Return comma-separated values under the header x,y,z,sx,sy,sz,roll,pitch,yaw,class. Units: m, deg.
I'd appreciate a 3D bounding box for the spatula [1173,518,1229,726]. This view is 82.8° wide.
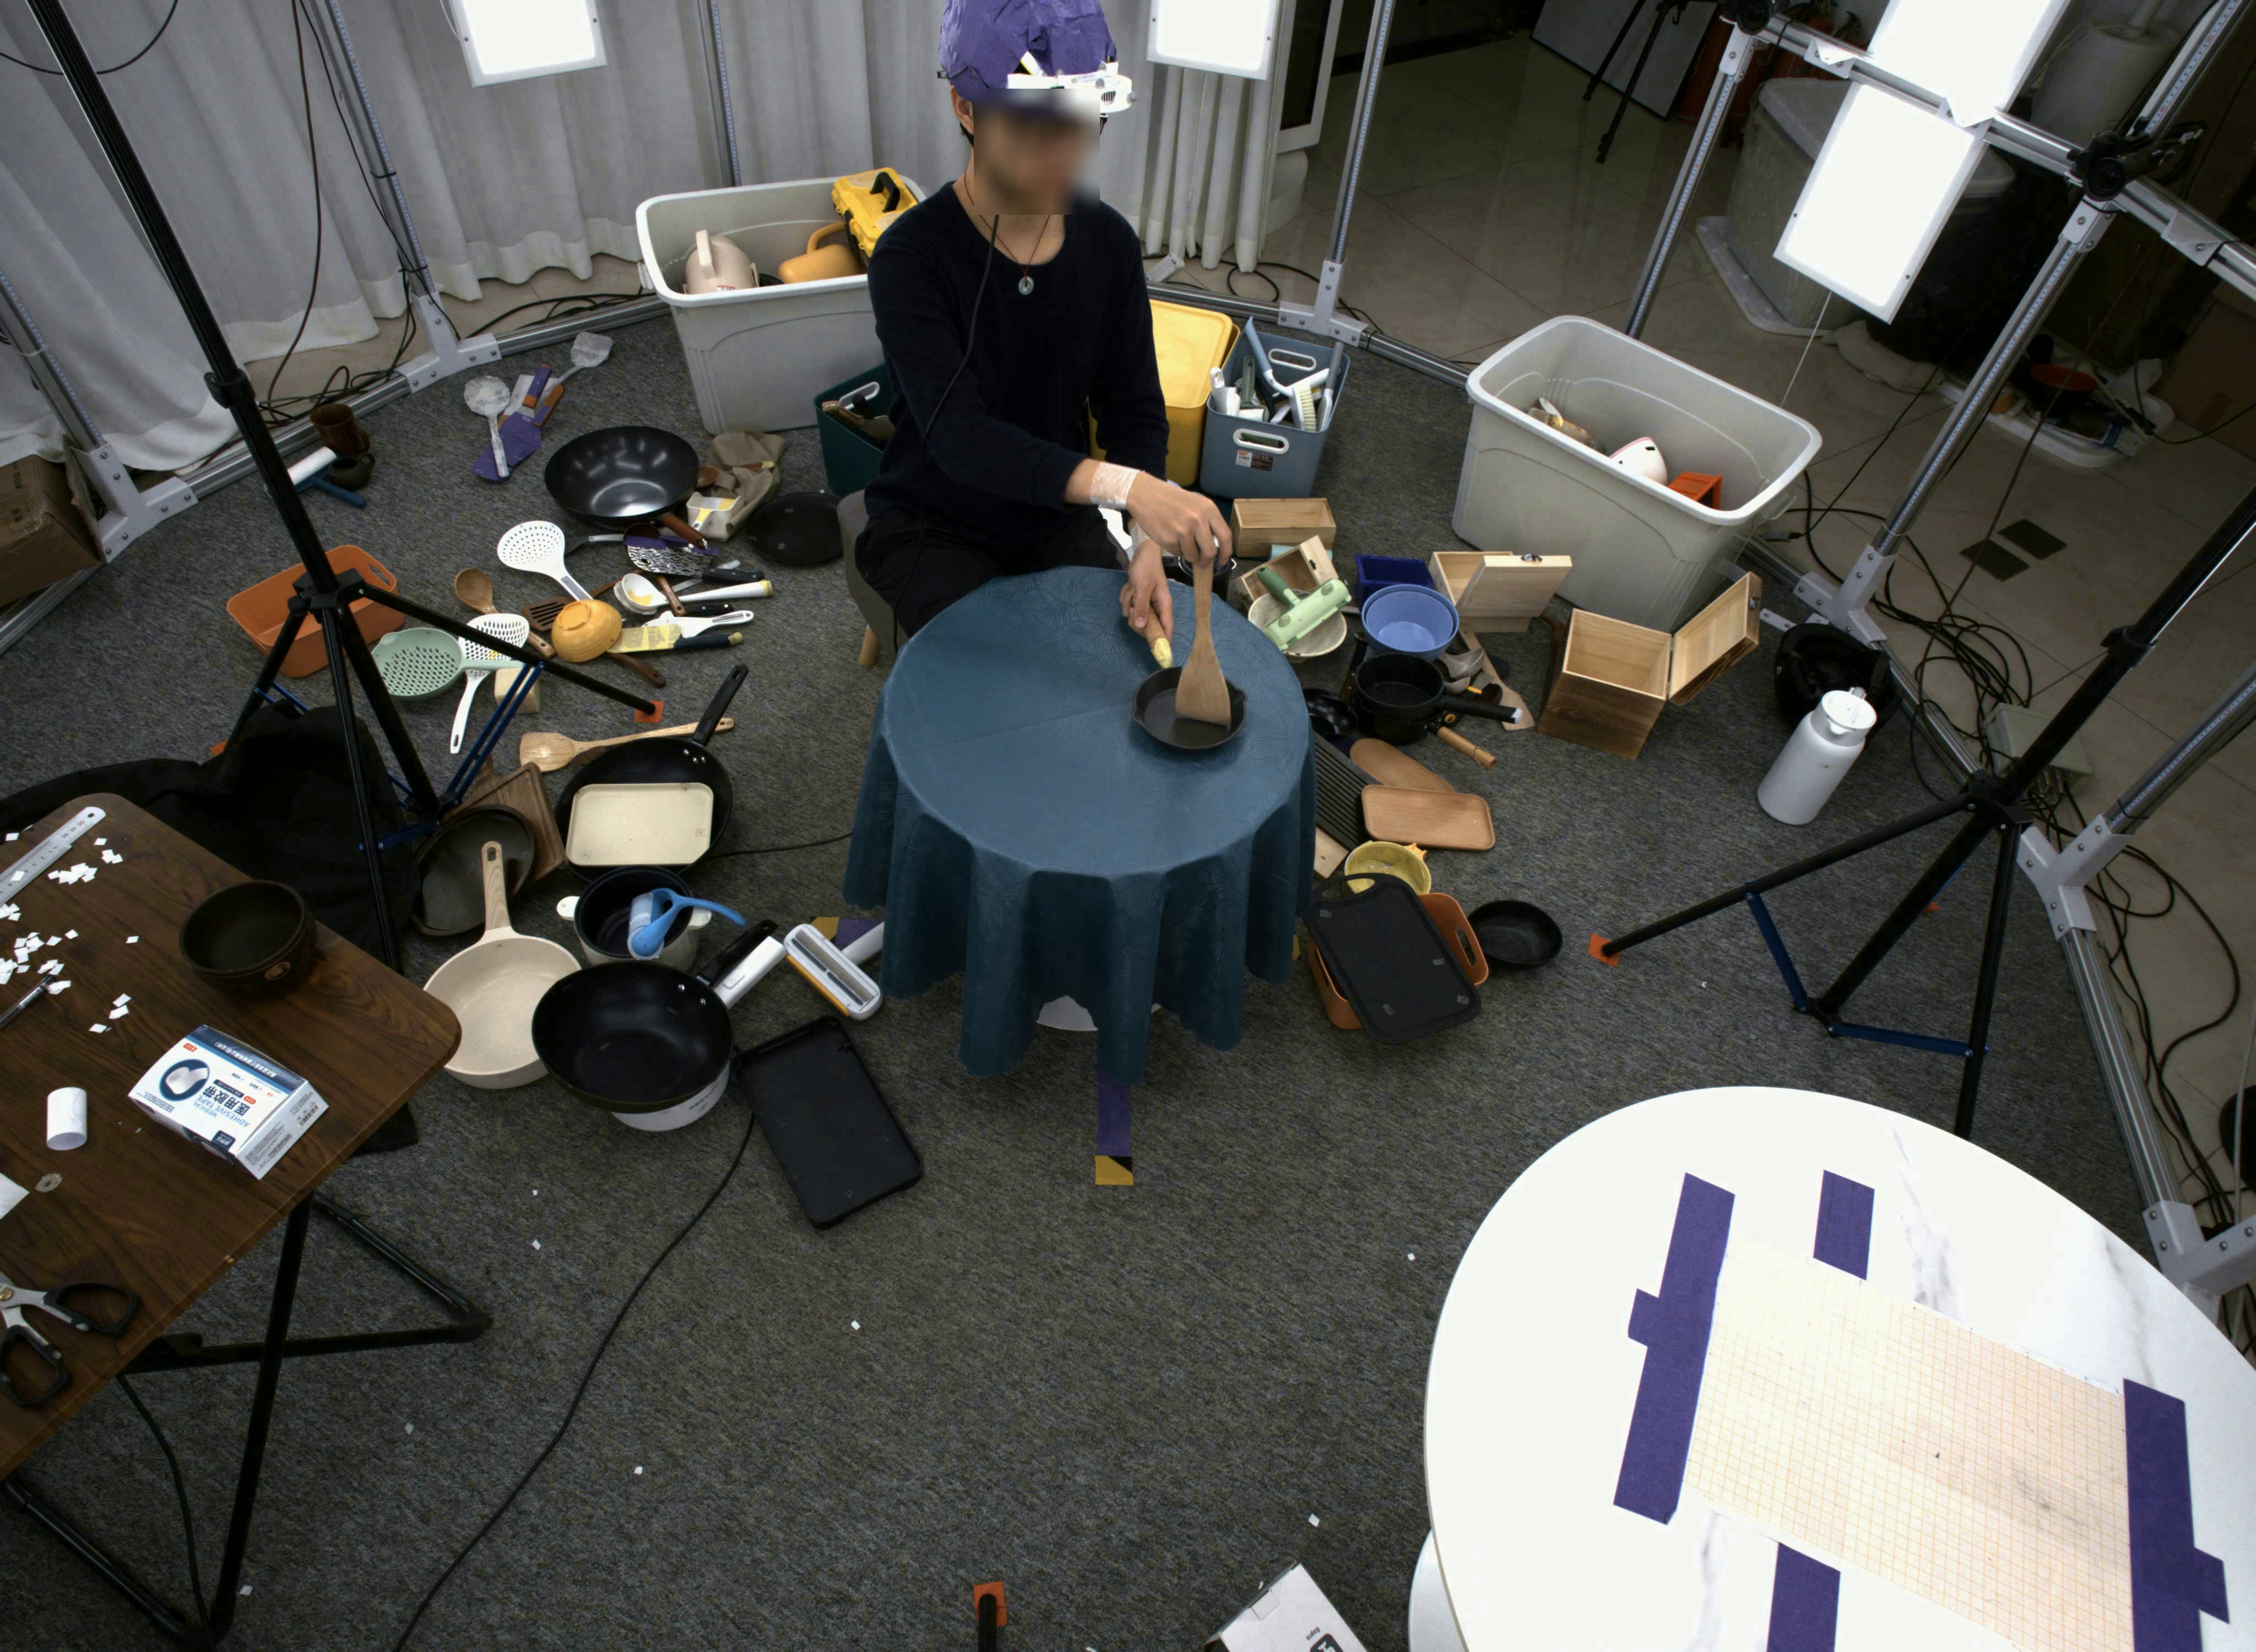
x,y,z,sx,sy,sz,roll,pitch,yaw,class
0.096,-0.261,1.694,0.080,0.319,0.017,8,42,12,spatula

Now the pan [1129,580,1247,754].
x,y,z,sx,sy,sz,roll,pitch,yaw,class
0.060,-0.228,1.833,0.169,0.048,0.332,-11,53,-14,pan
